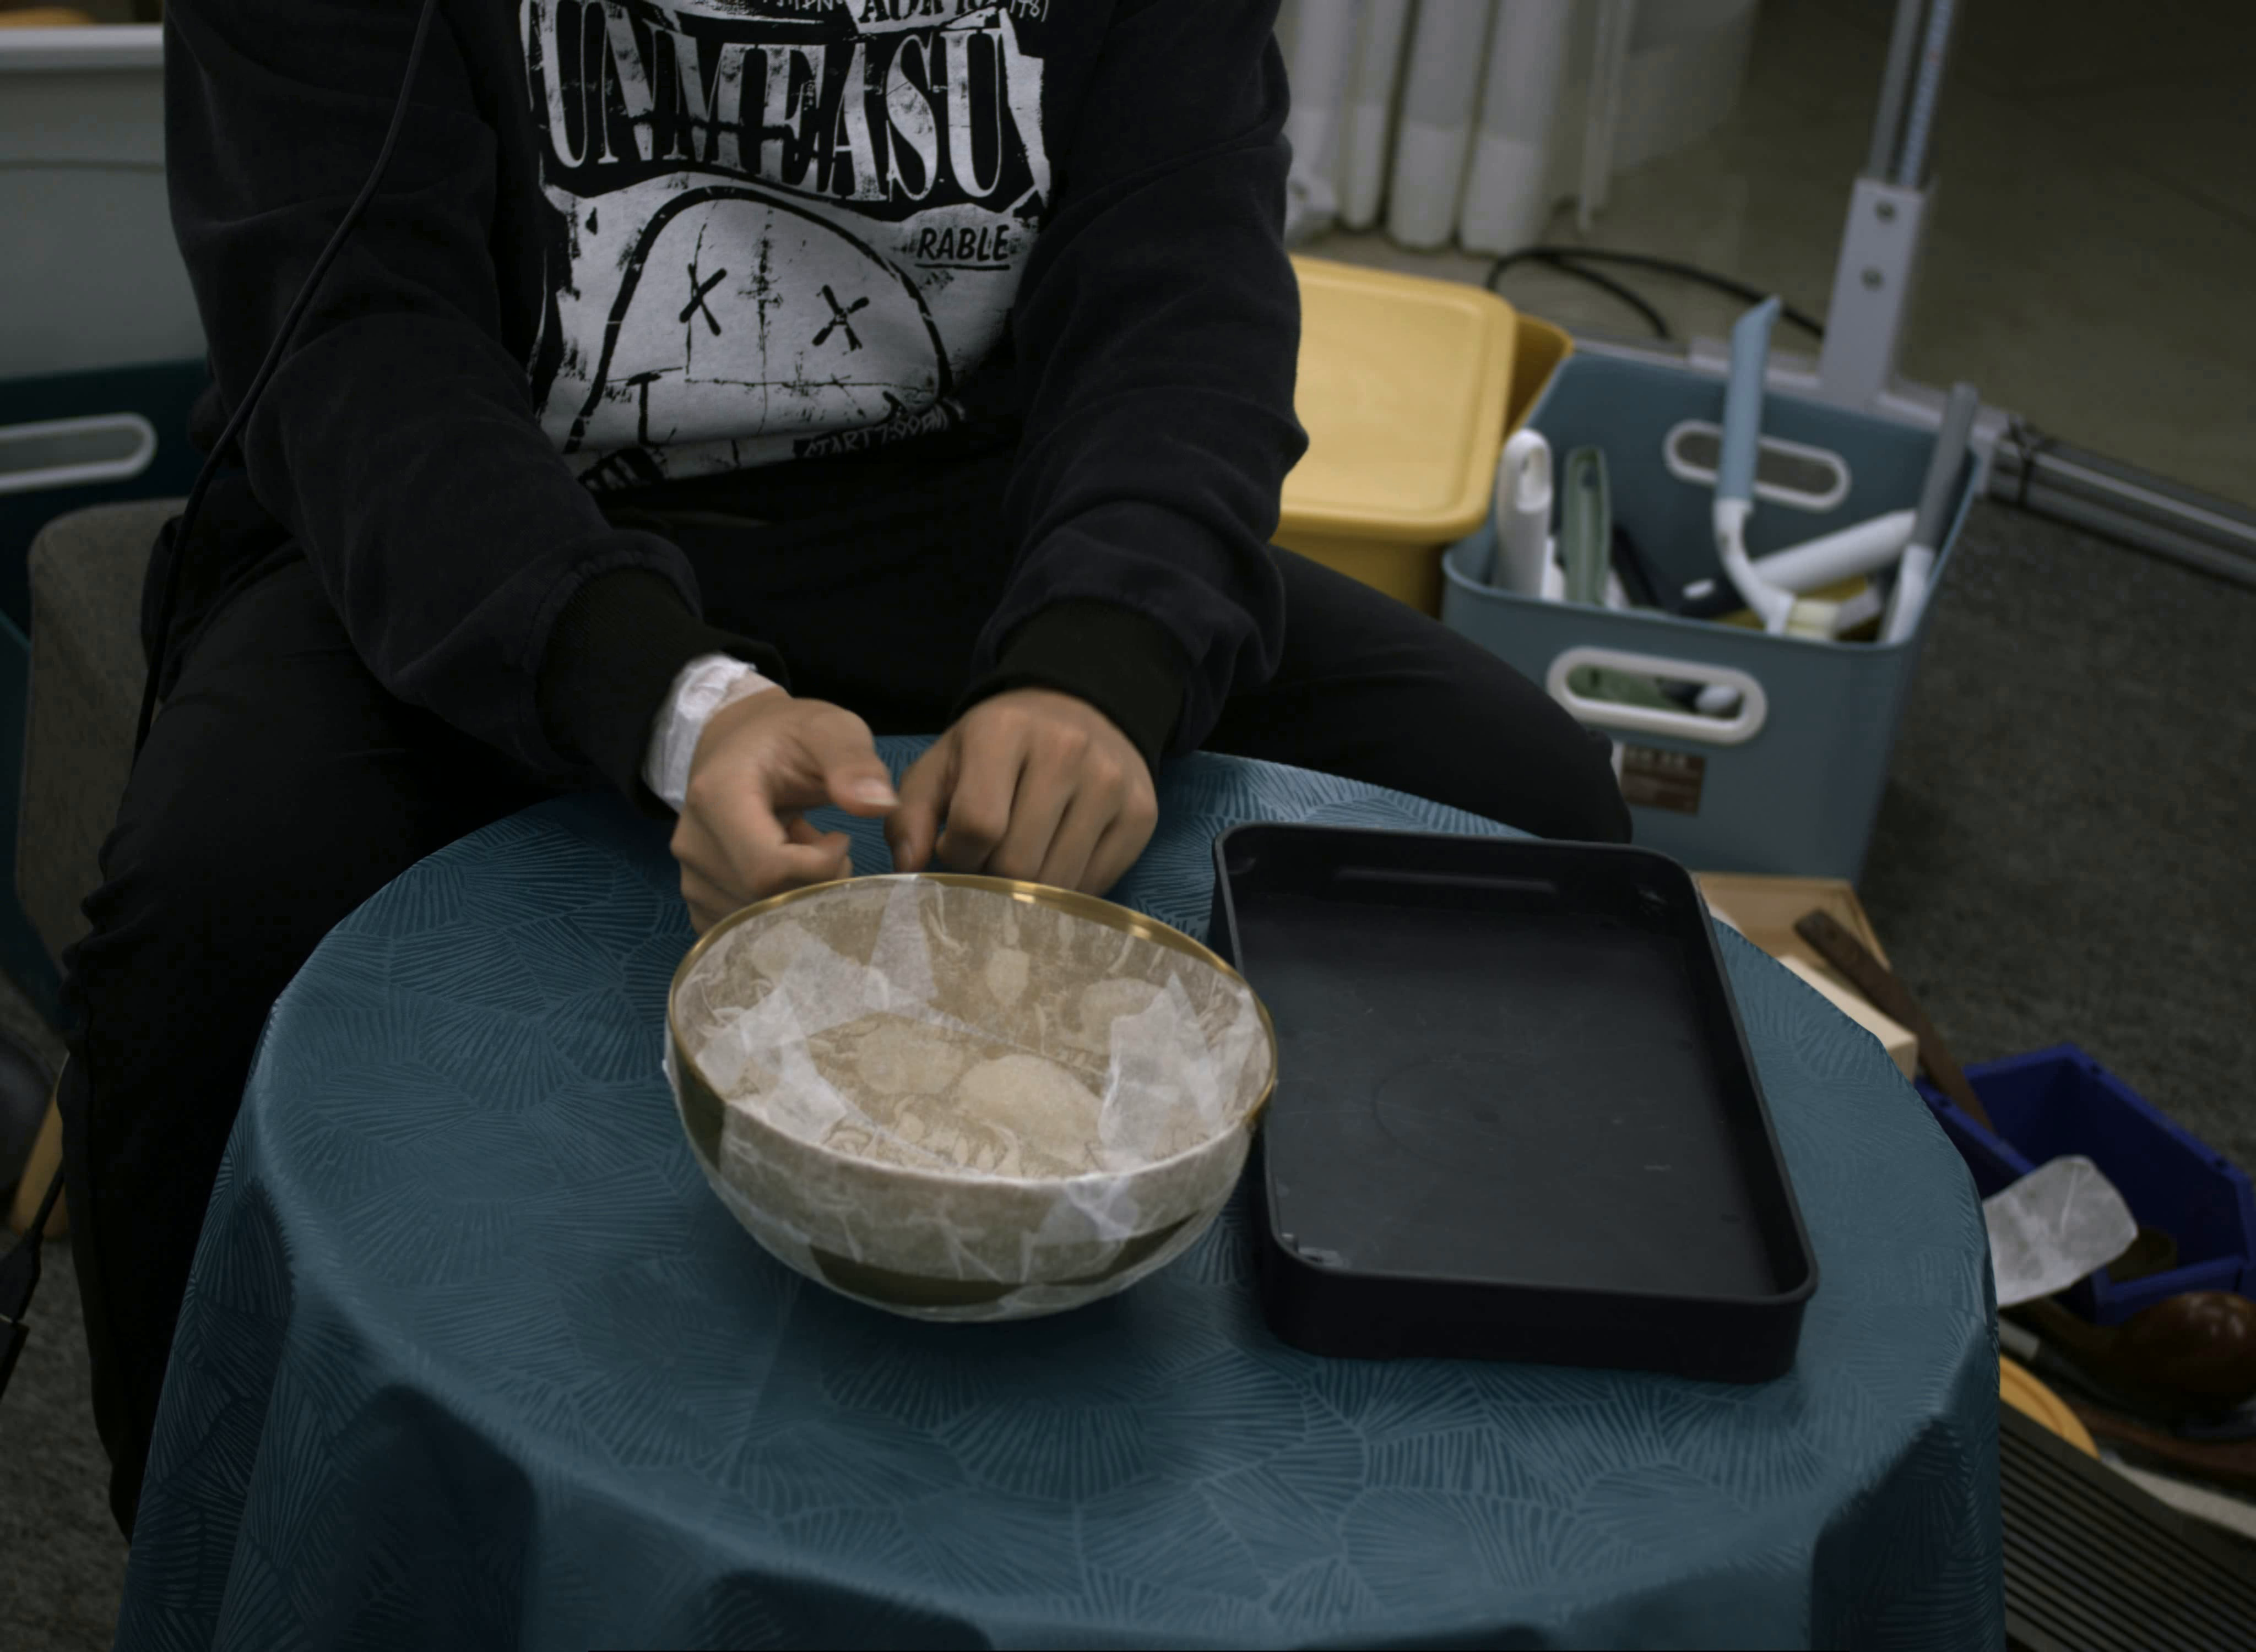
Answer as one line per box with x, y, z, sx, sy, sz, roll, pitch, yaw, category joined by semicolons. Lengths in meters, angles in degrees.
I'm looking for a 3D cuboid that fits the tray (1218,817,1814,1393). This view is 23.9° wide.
0.127;0.091;1.856;0.183;0.037;0.320;5;28;-4;tray

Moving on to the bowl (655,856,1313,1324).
-0.052;0.099;1.735;0.214;0.094;0.216;4;27;-2;bowl
